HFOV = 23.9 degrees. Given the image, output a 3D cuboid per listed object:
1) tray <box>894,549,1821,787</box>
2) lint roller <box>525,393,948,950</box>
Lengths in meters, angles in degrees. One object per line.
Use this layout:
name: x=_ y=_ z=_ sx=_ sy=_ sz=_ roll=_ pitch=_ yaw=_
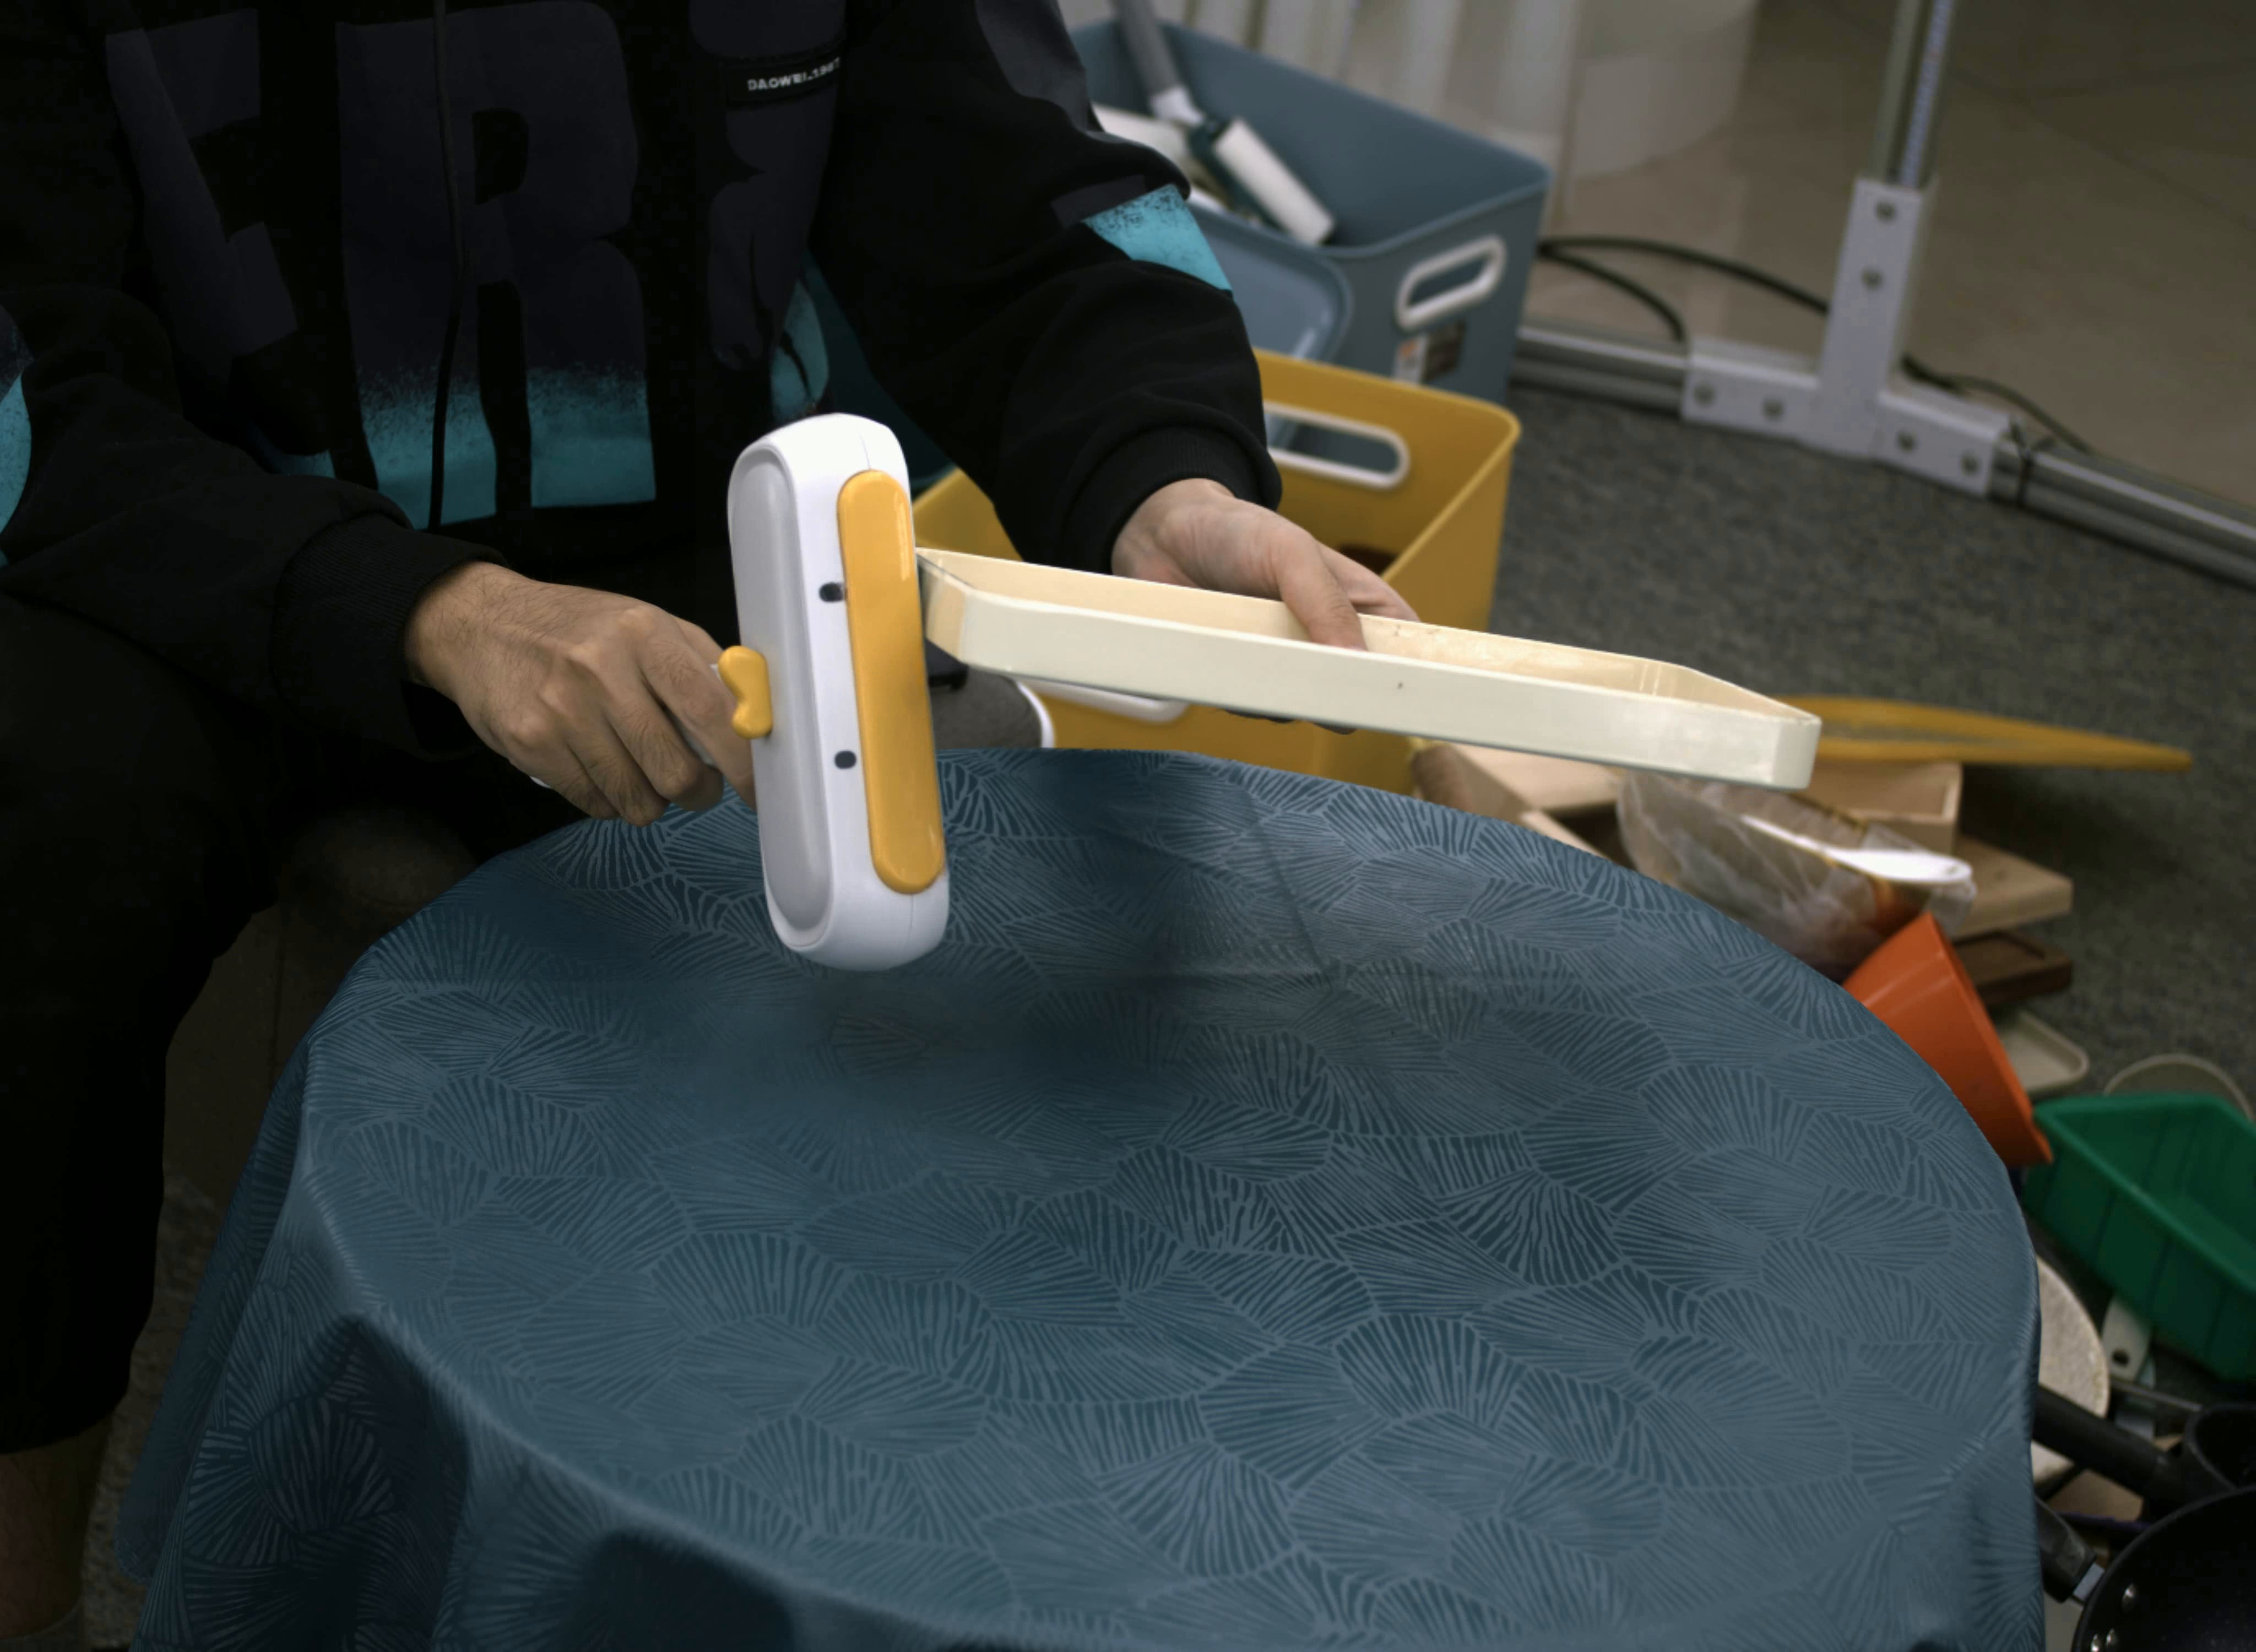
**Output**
tray: x=0.074 y=-0.055 z=1.855 sx=0.299 sy=0.027 sz=0.192 roll=9 pitch=5 yaw=-11
lint roller: x=-0.142 y=-0.042 z=1.879 sx=0.073 sy=0.193 sz=0.193 roll=-8 pitch=-6 yaw=-38
